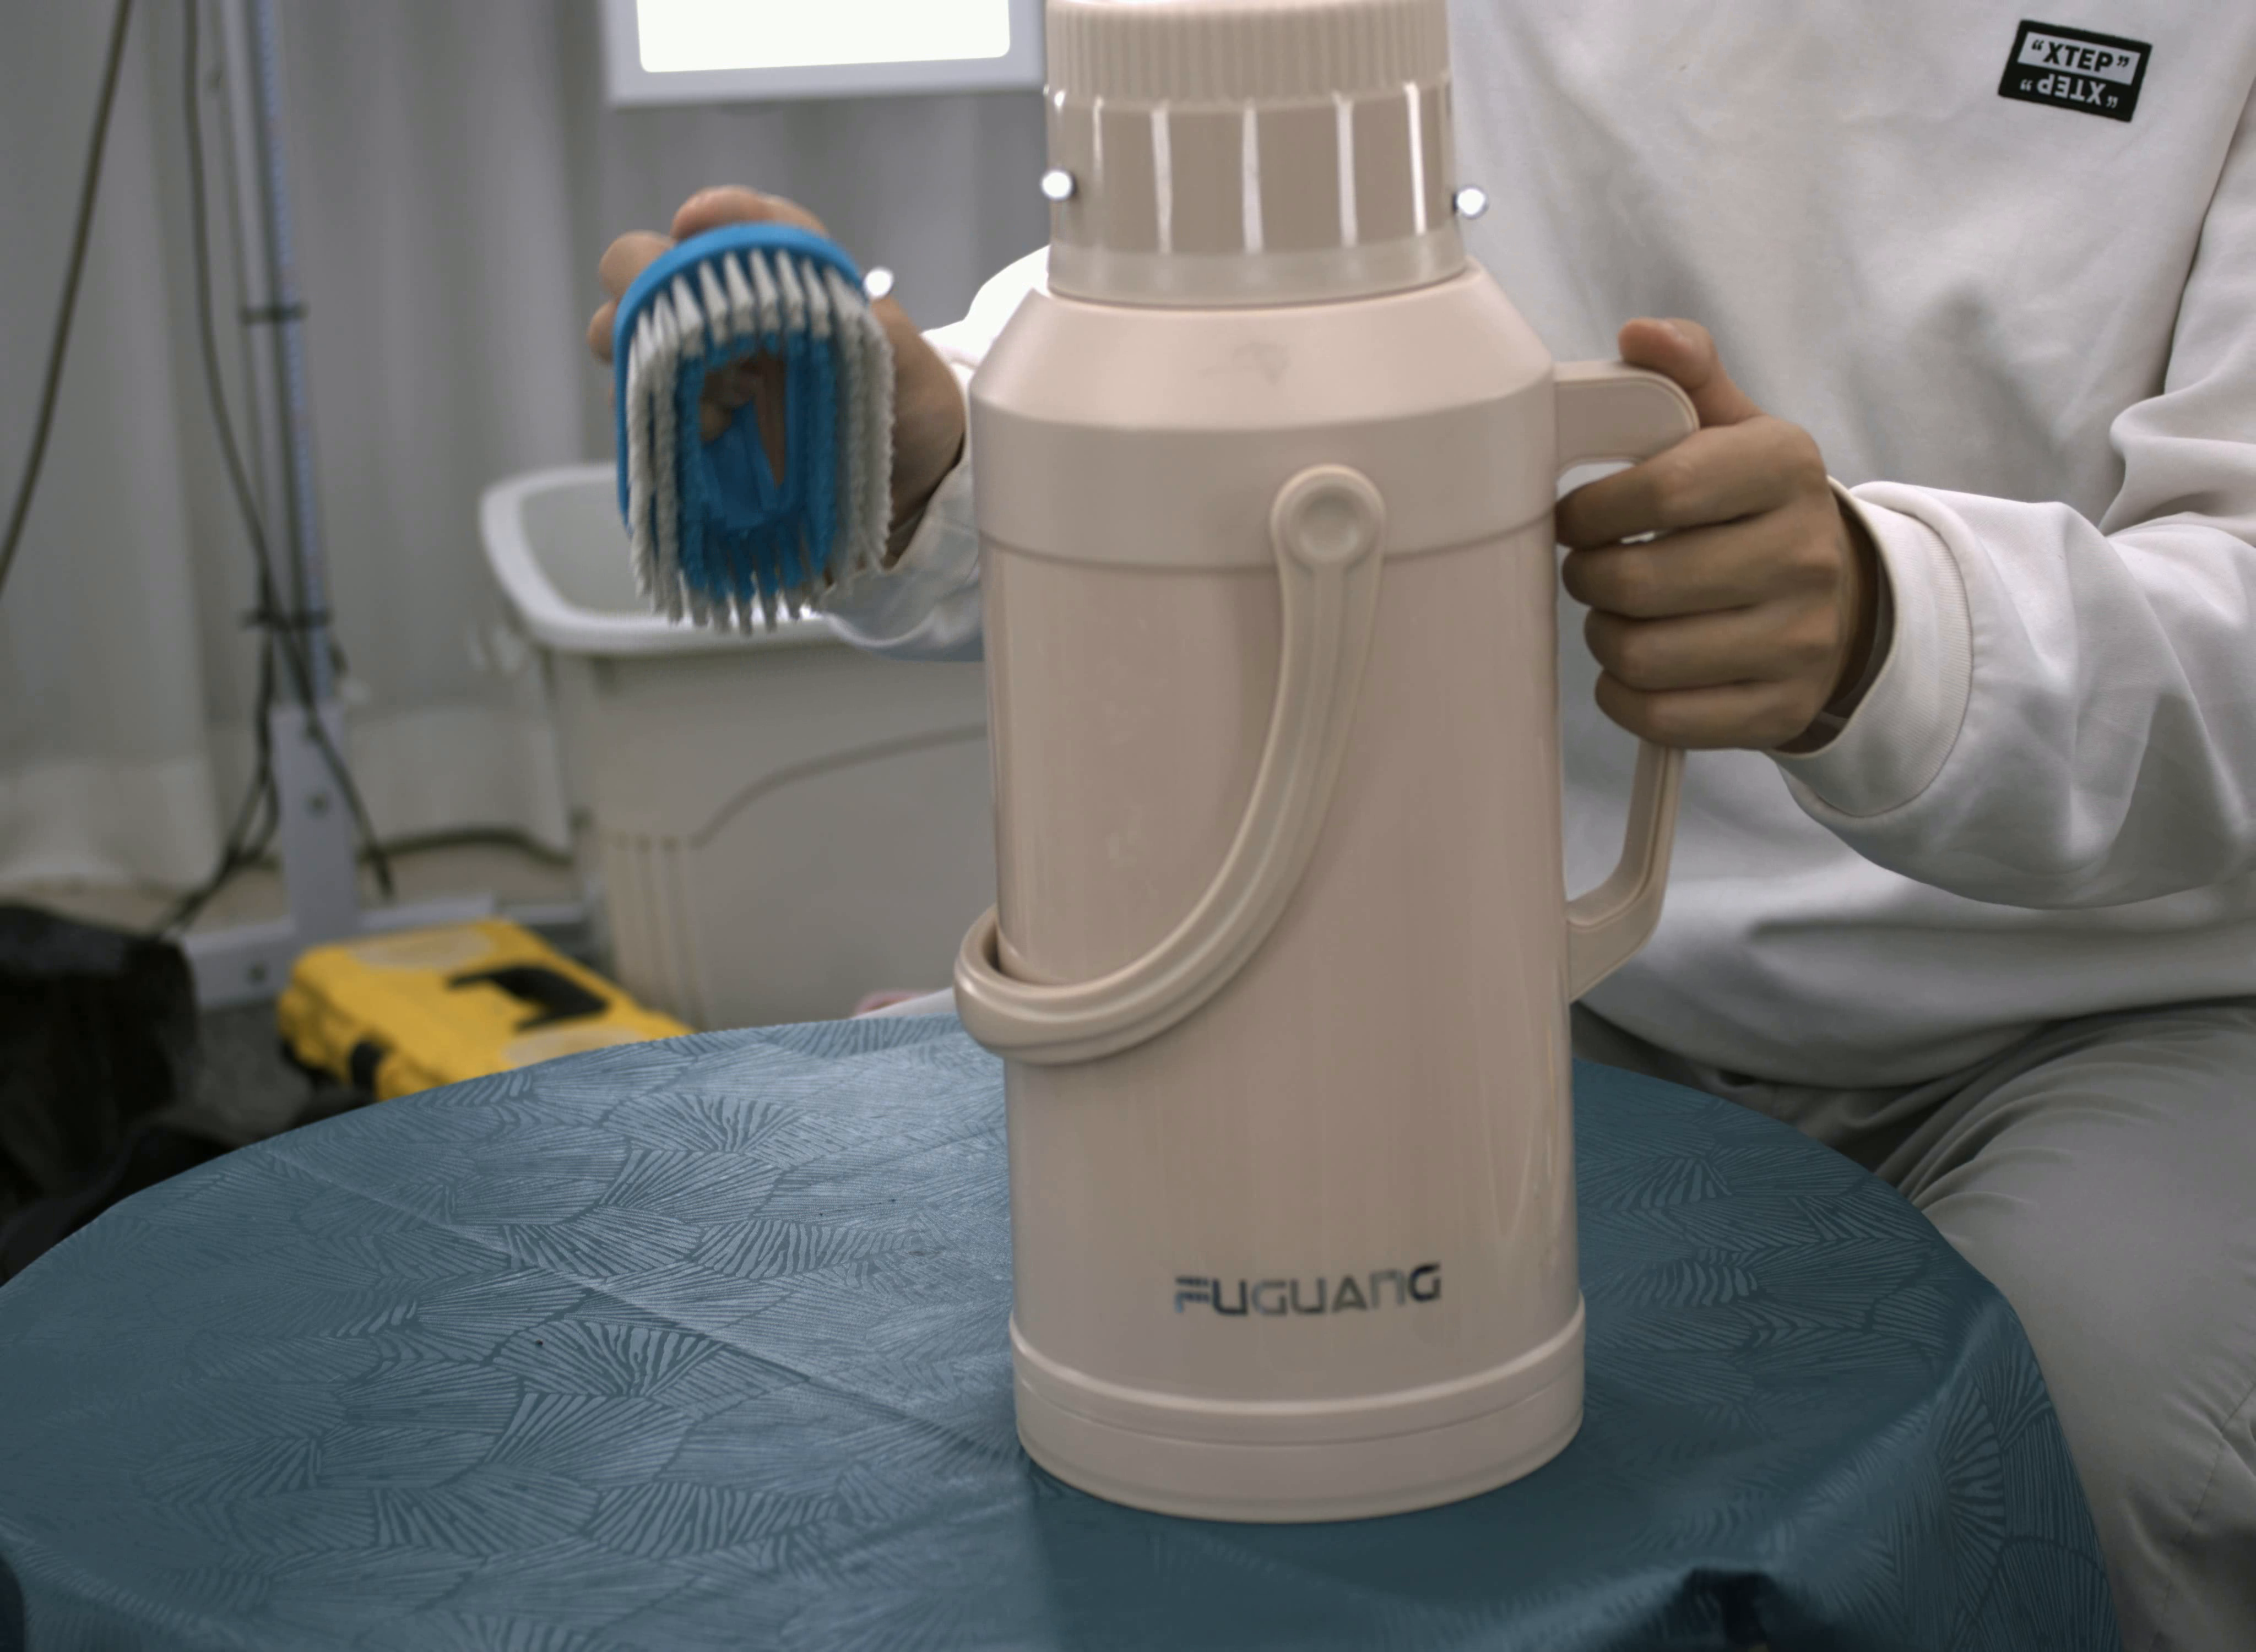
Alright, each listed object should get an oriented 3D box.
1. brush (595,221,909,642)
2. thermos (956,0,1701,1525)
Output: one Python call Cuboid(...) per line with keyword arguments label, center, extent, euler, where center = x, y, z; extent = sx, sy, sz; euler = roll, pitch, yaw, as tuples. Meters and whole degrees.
Cuboid(label="brush", center=(-0.110, -0.120, 1.562), extent=(0.084, 0.140, 0.065), euler=(-15, 52, -13))
Cuboid(label="thermos", center=(0.053, -0.027, 1.476), extent=(0.206, 0.405, 0.176), euler=(-5, 12, -9))
